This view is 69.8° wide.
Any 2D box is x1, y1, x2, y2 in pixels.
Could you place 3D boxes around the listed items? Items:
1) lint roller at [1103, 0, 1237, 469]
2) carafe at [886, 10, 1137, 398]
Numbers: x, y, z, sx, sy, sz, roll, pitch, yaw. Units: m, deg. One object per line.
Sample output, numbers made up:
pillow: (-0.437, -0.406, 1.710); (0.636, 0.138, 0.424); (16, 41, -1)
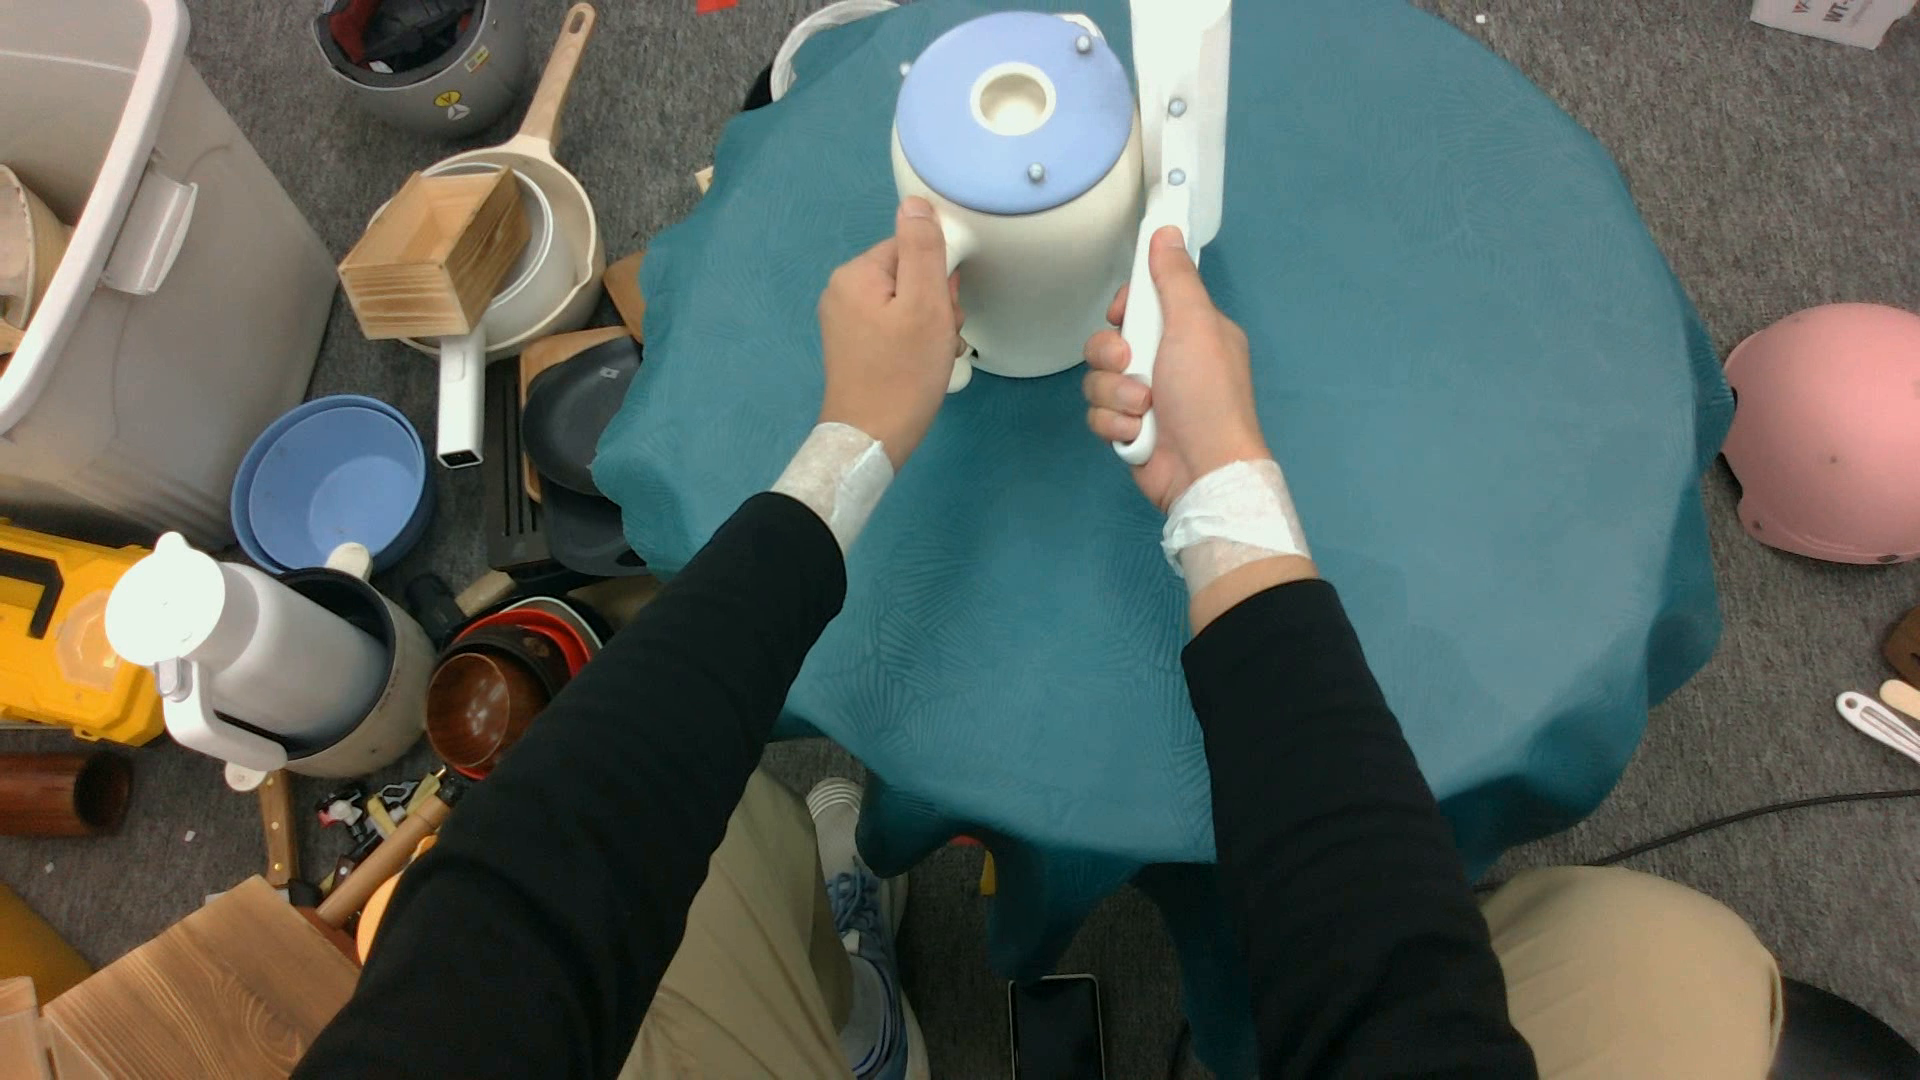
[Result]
lint roller: (0.114, -0.141, 0.700); (0.048, 0.202, 0.226); (-12, 69, 2)
carafe: (0.017, -0.167, 0.756); (0.132, 0.182, 0.191); (28, 75, 14)
